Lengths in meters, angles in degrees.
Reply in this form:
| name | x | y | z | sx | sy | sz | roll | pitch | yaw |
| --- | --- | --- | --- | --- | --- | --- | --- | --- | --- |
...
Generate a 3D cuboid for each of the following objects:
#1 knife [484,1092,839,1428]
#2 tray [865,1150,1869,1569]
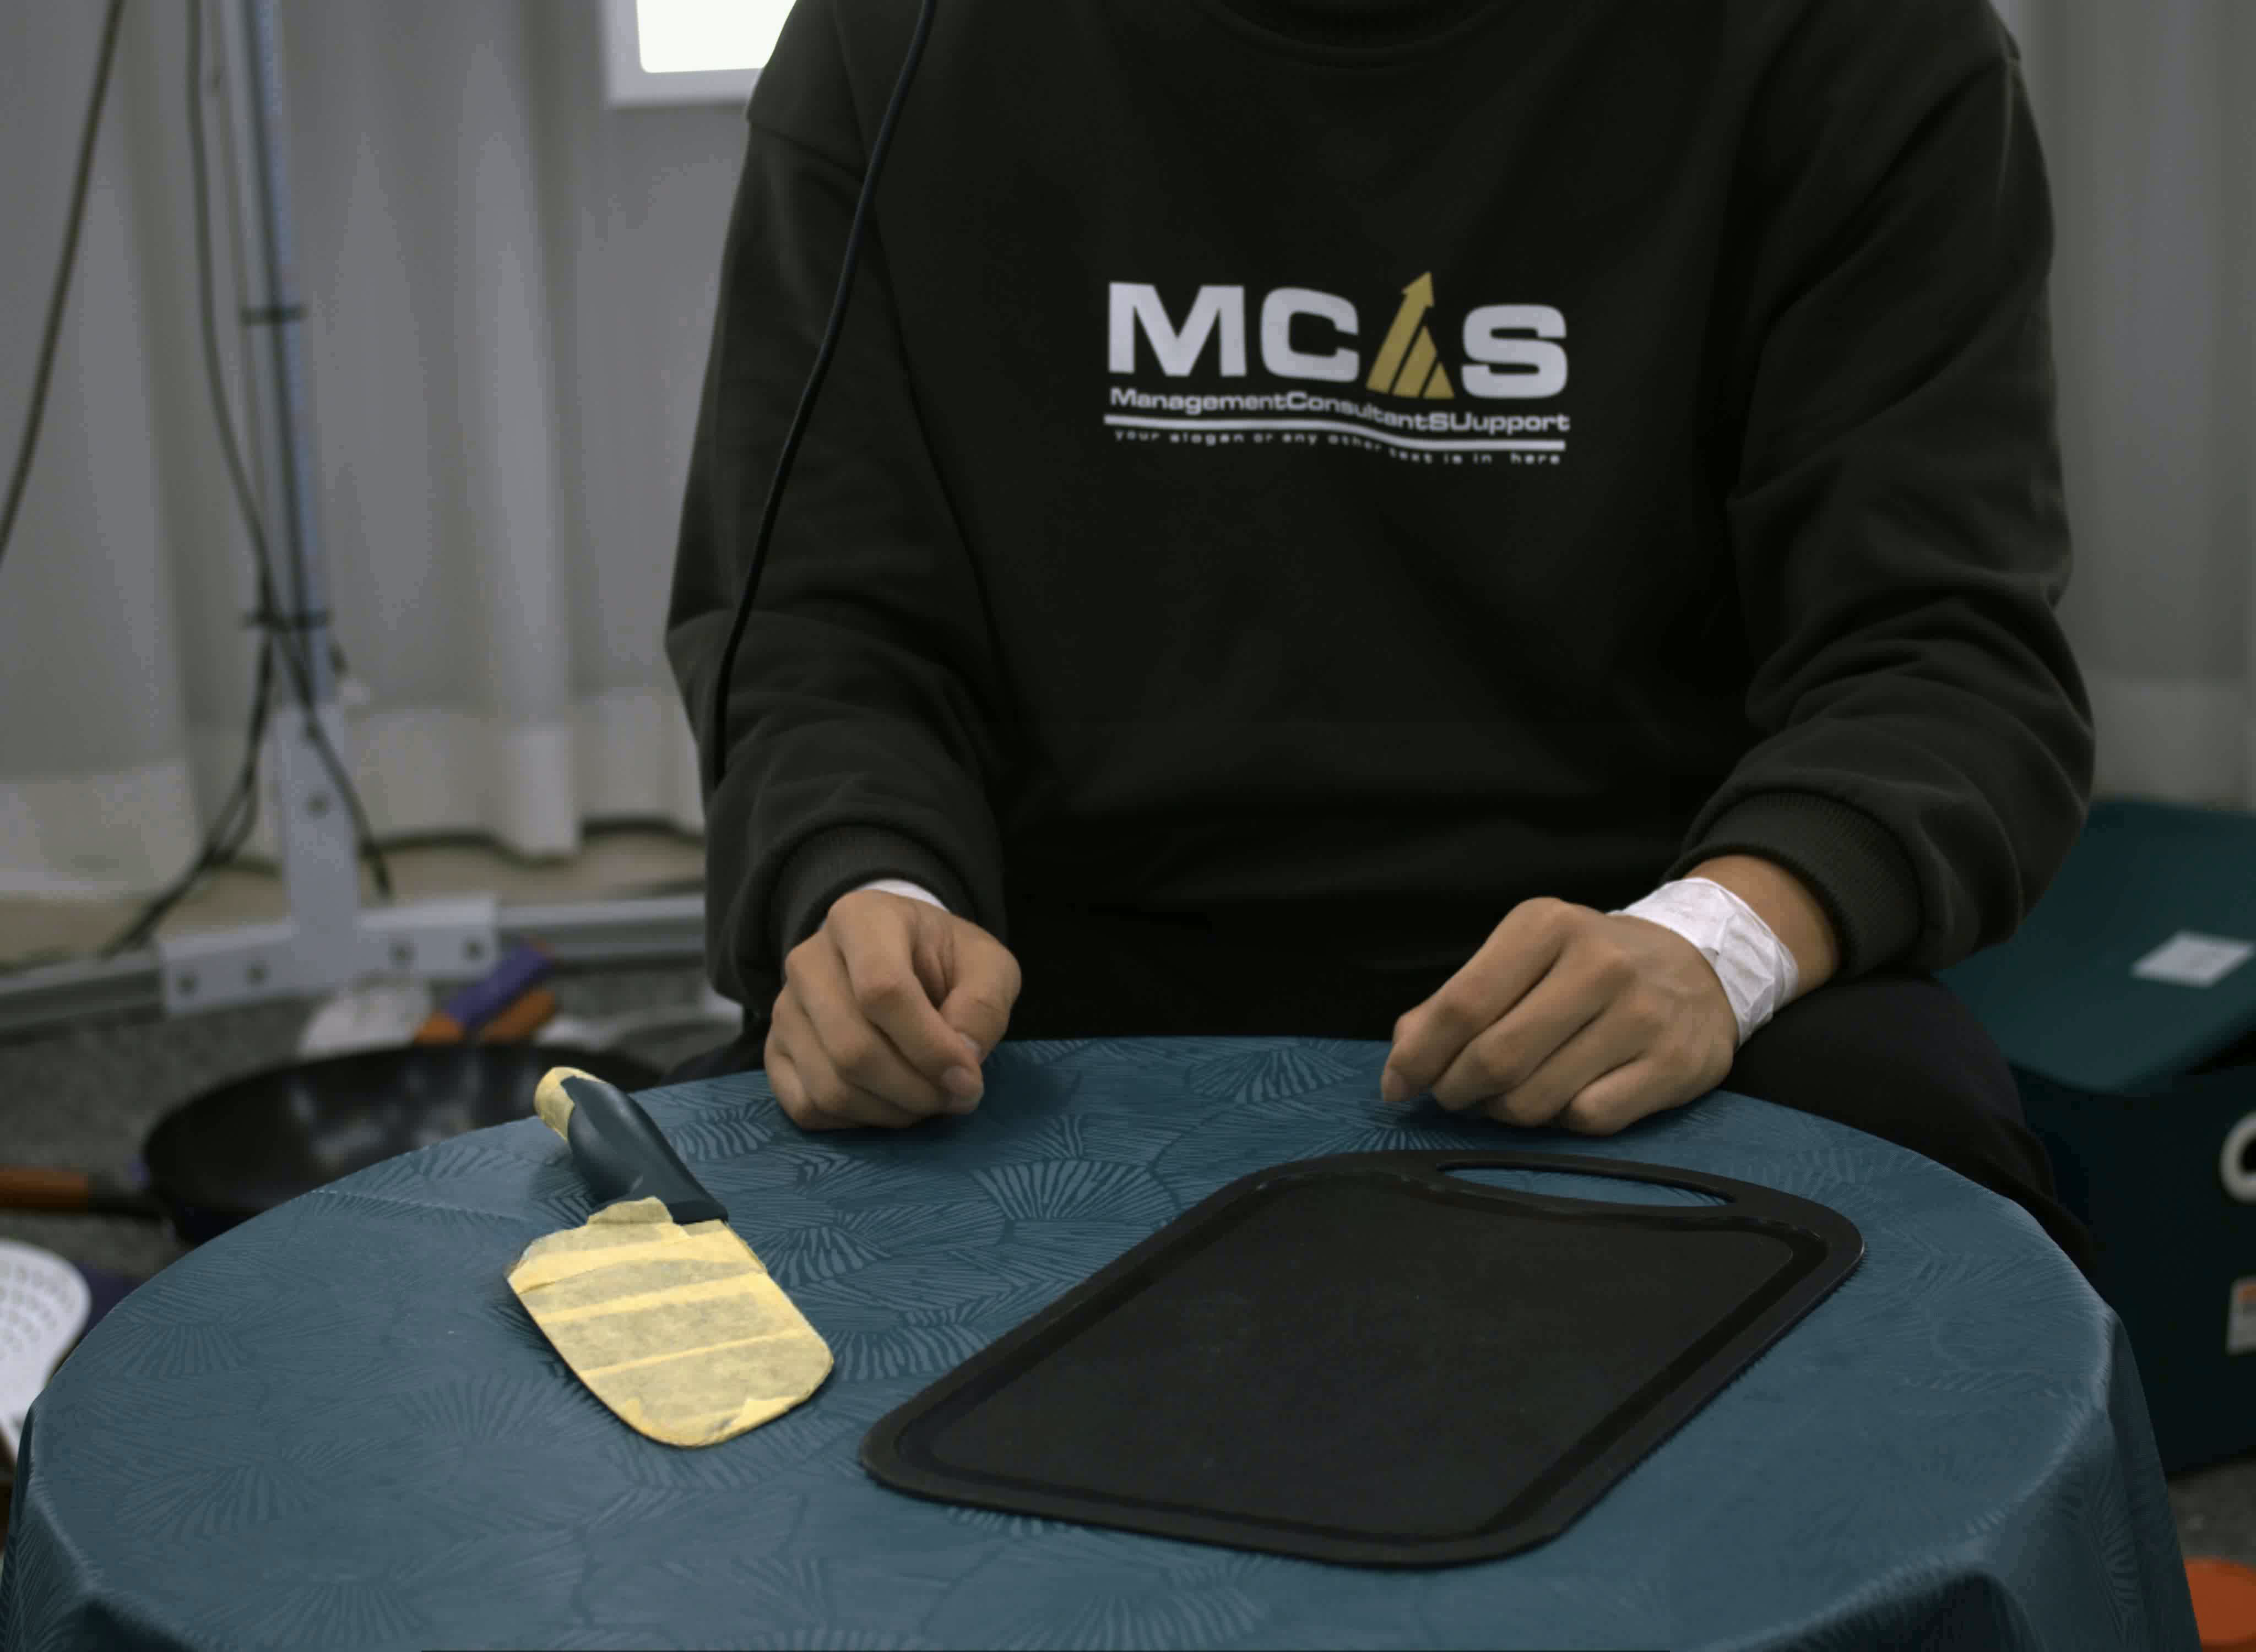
| name | x | y | z | sx | sy | sz | roll | pitch | yaw |
| --- | --- | --- | --- | --- | --- | --- | --- | --- | --- |
| knife | -0.152 | 0.132 | 1.655 | 0.080 | 0.027 | 0.292 | -6 | 16 | -17 |
| tray | 0.078 | 0.144 | 1.577 | 0.211 | 0.010 | 0.326 | 5 | 17 | 28 |
